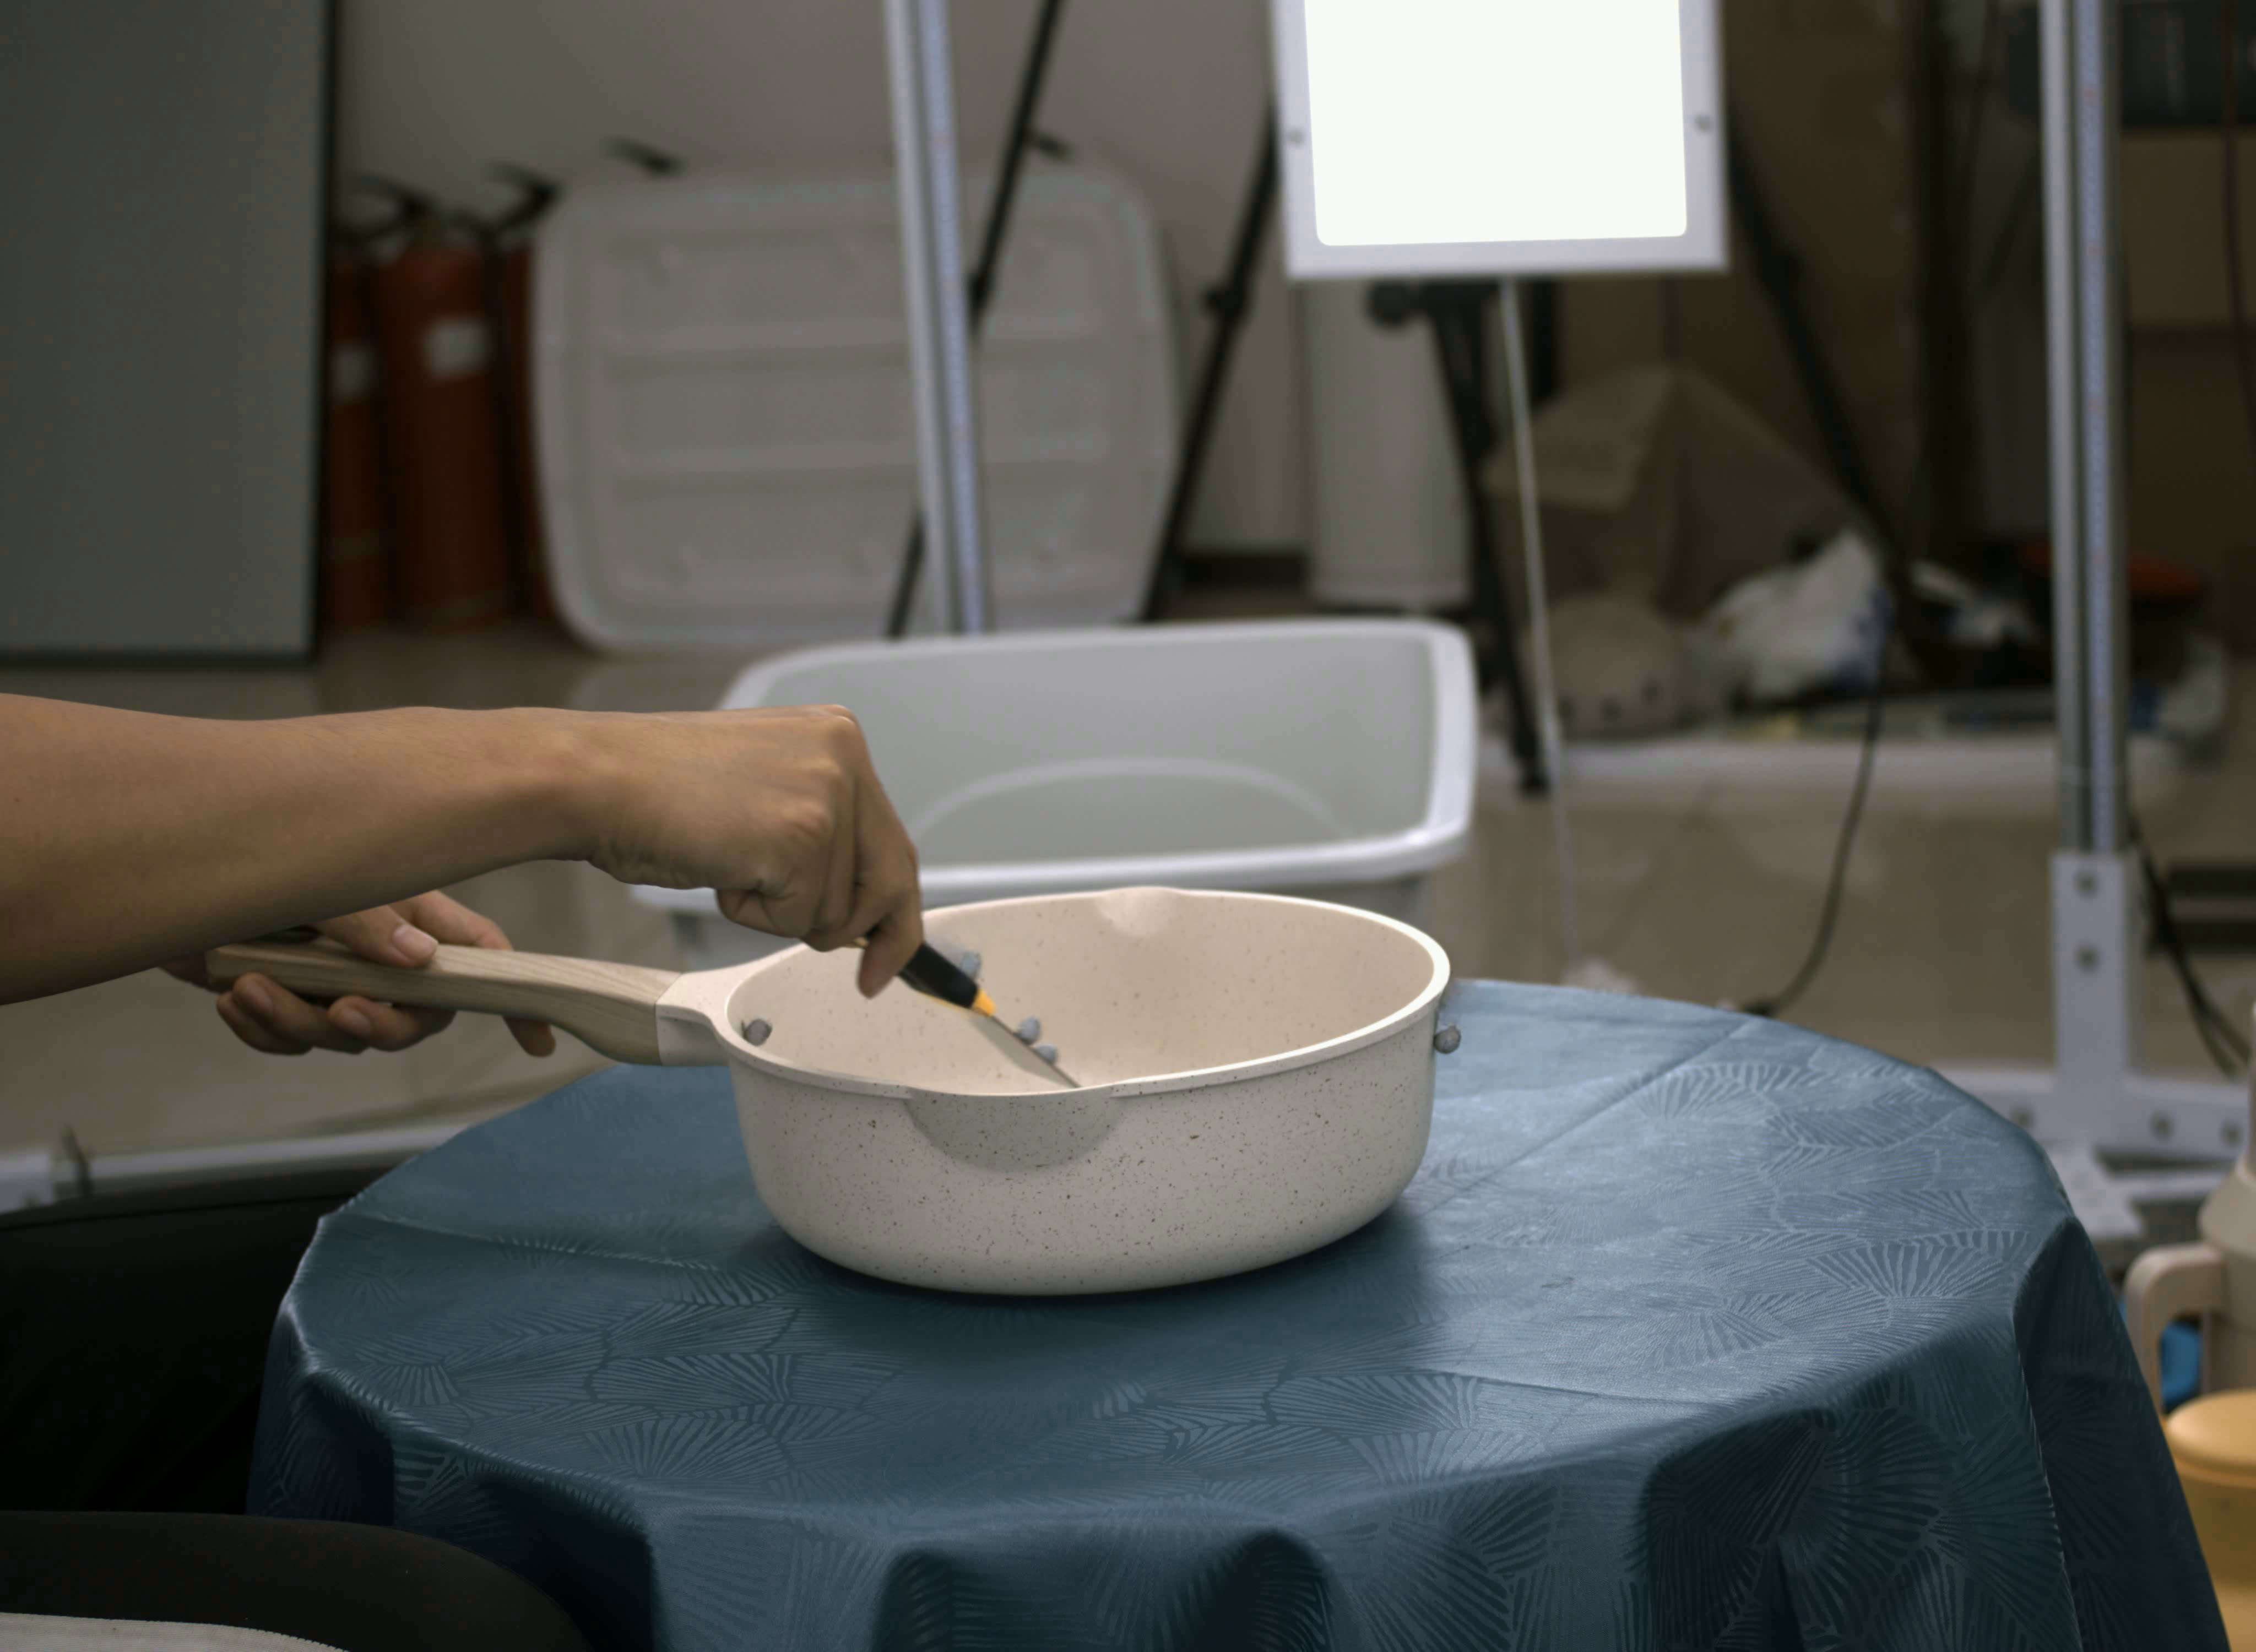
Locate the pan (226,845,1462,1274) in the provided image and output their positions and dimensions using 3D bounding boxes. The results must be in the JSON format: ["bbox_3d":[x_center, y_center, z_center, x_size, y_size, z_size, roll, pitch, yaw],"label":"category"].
[{"bbox_3d":[-0.098,0.078,1.909,0.438,0.102,0.260,-2,16,12],"label":"pan"}]

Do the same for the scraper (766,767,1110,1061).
[{"bbox_3d":[-0.062,0.030,1.790,0.015,0.168,0.039,-52,40,-6],"label":"scraper"}]
